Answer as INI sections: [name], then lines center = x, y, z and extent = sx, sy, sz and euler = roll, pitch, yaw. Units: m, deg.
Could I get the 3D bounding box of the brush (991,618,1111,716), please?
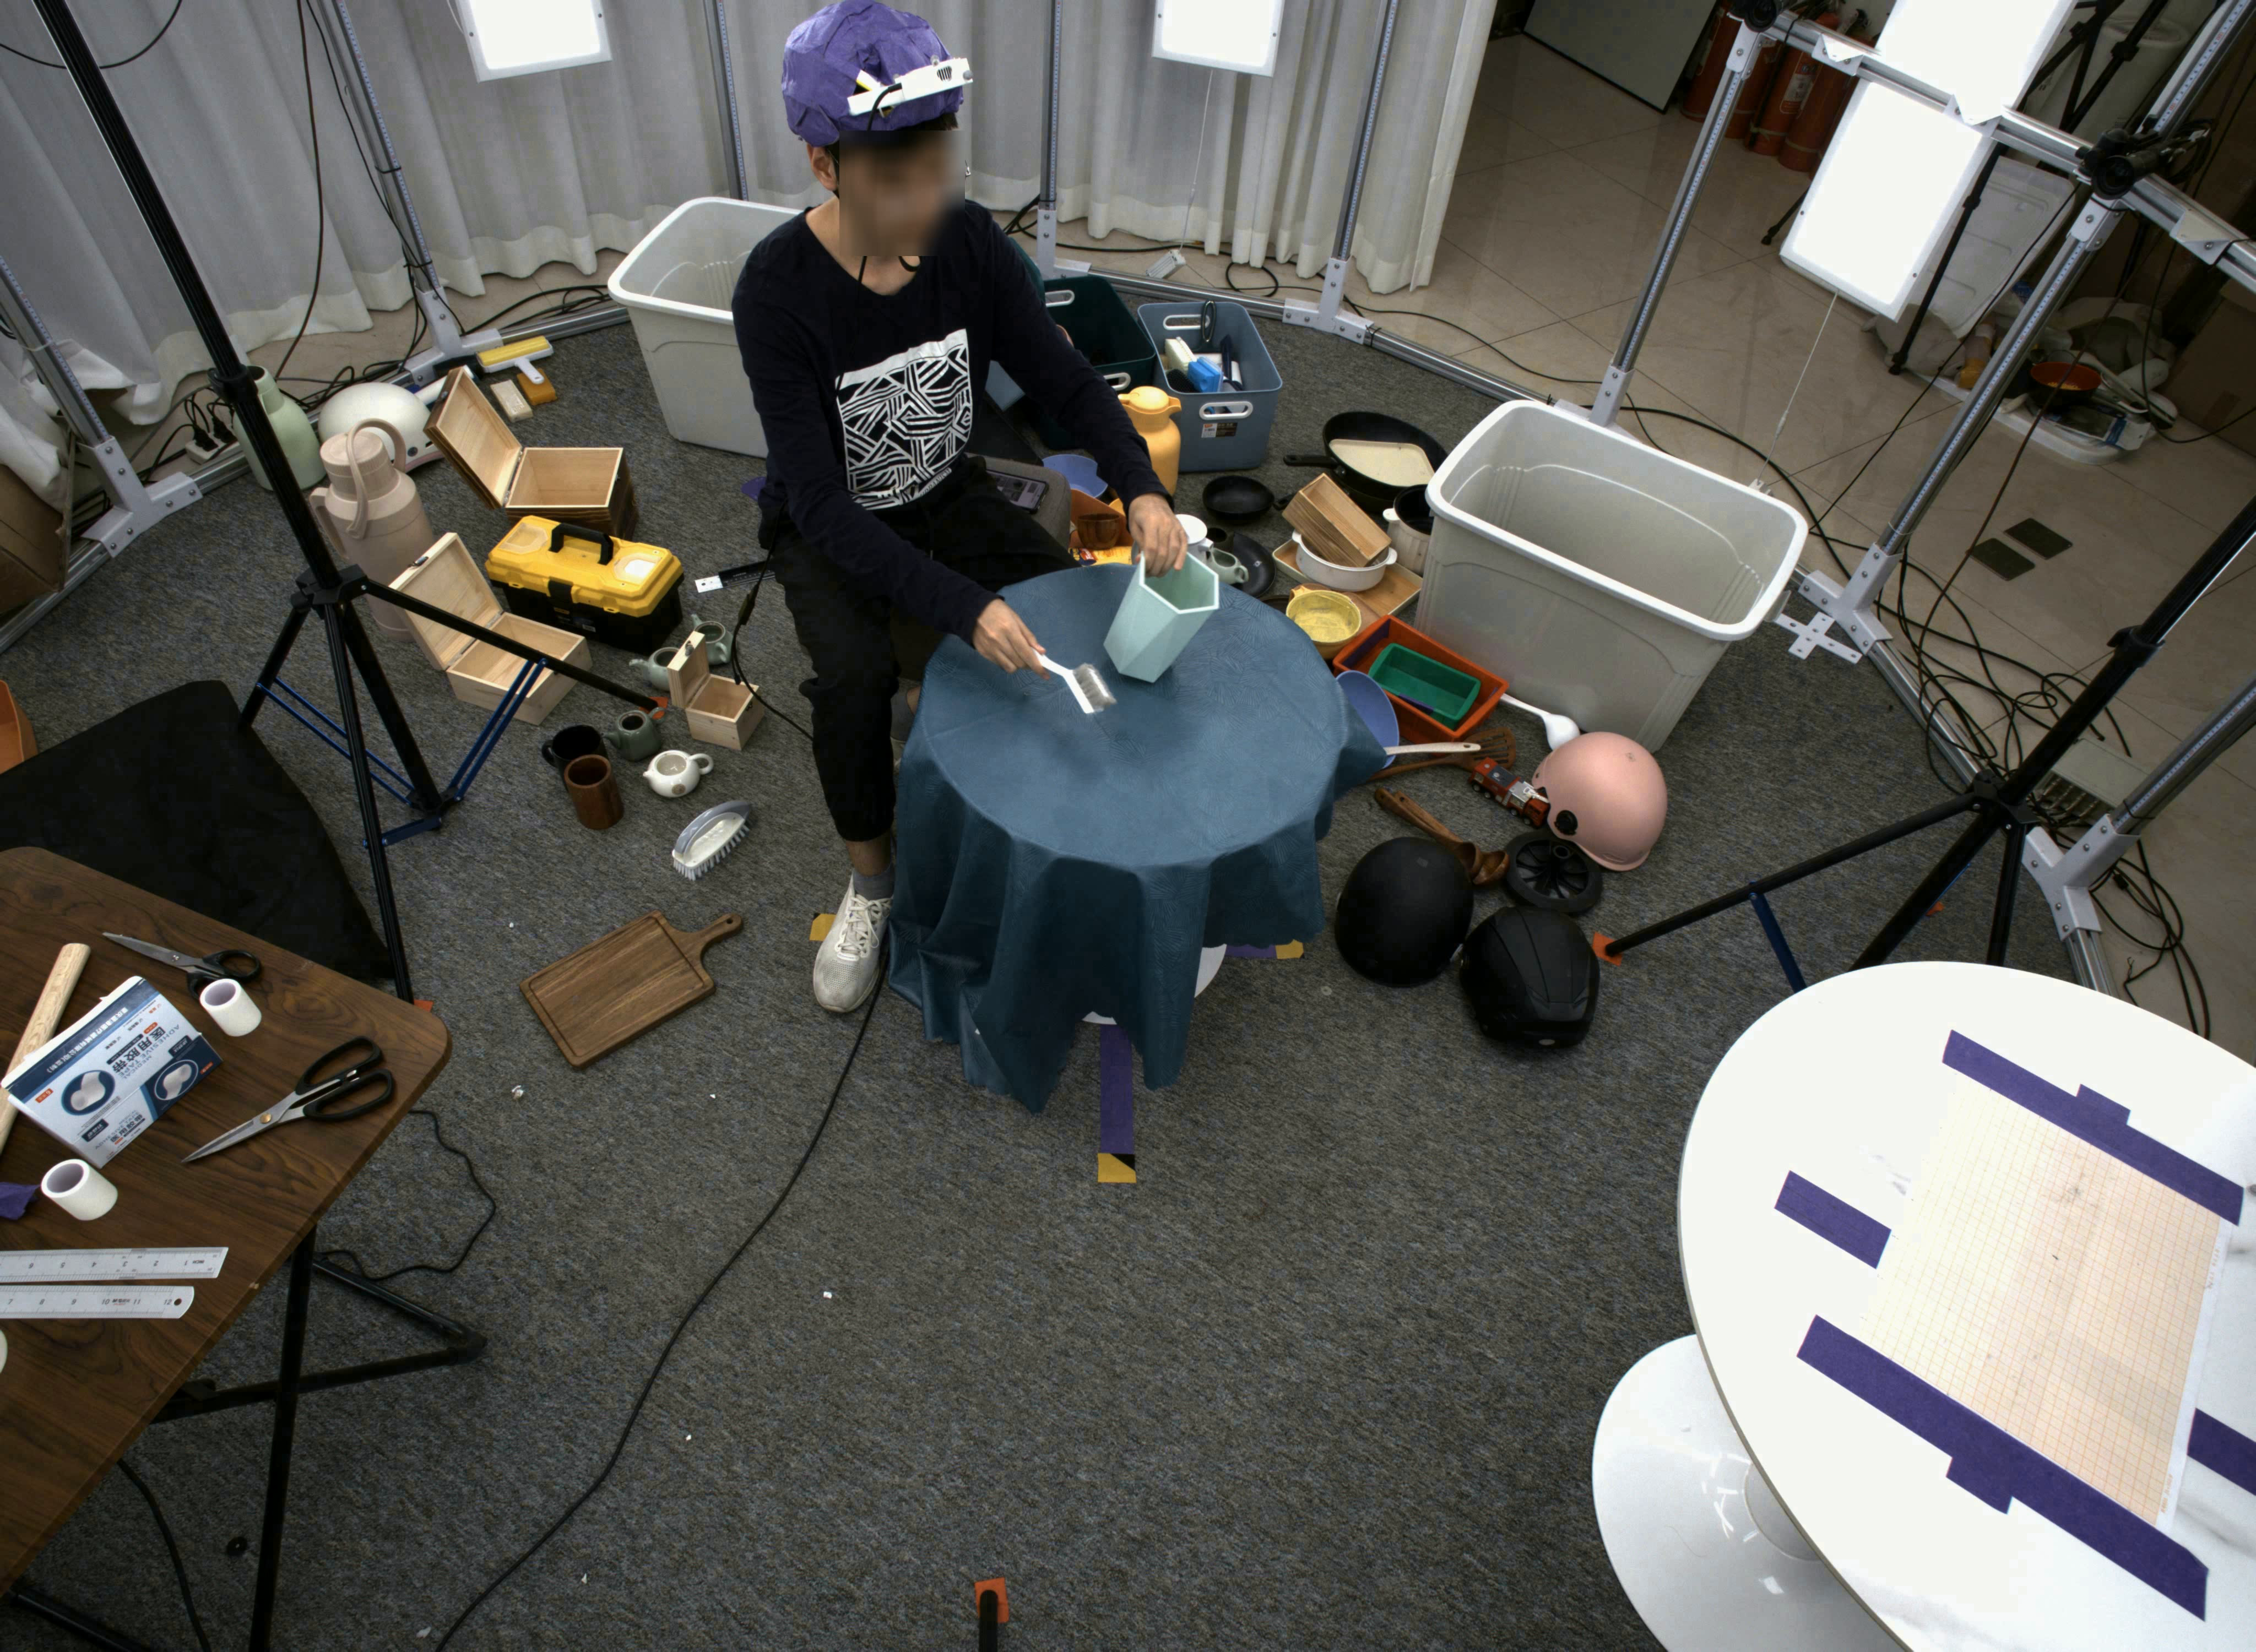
[brush]
center = -0.106, -0.234, 1.759
extent = 0.034, 0.049, 0.248
euler = 8, 31, -51

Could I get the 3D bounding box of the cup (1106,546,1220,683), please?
[cup]
center = 0.045, -0.292, 1.805
extent = 0.114, 0.160, 0.134
euler = 12, 51, -16
